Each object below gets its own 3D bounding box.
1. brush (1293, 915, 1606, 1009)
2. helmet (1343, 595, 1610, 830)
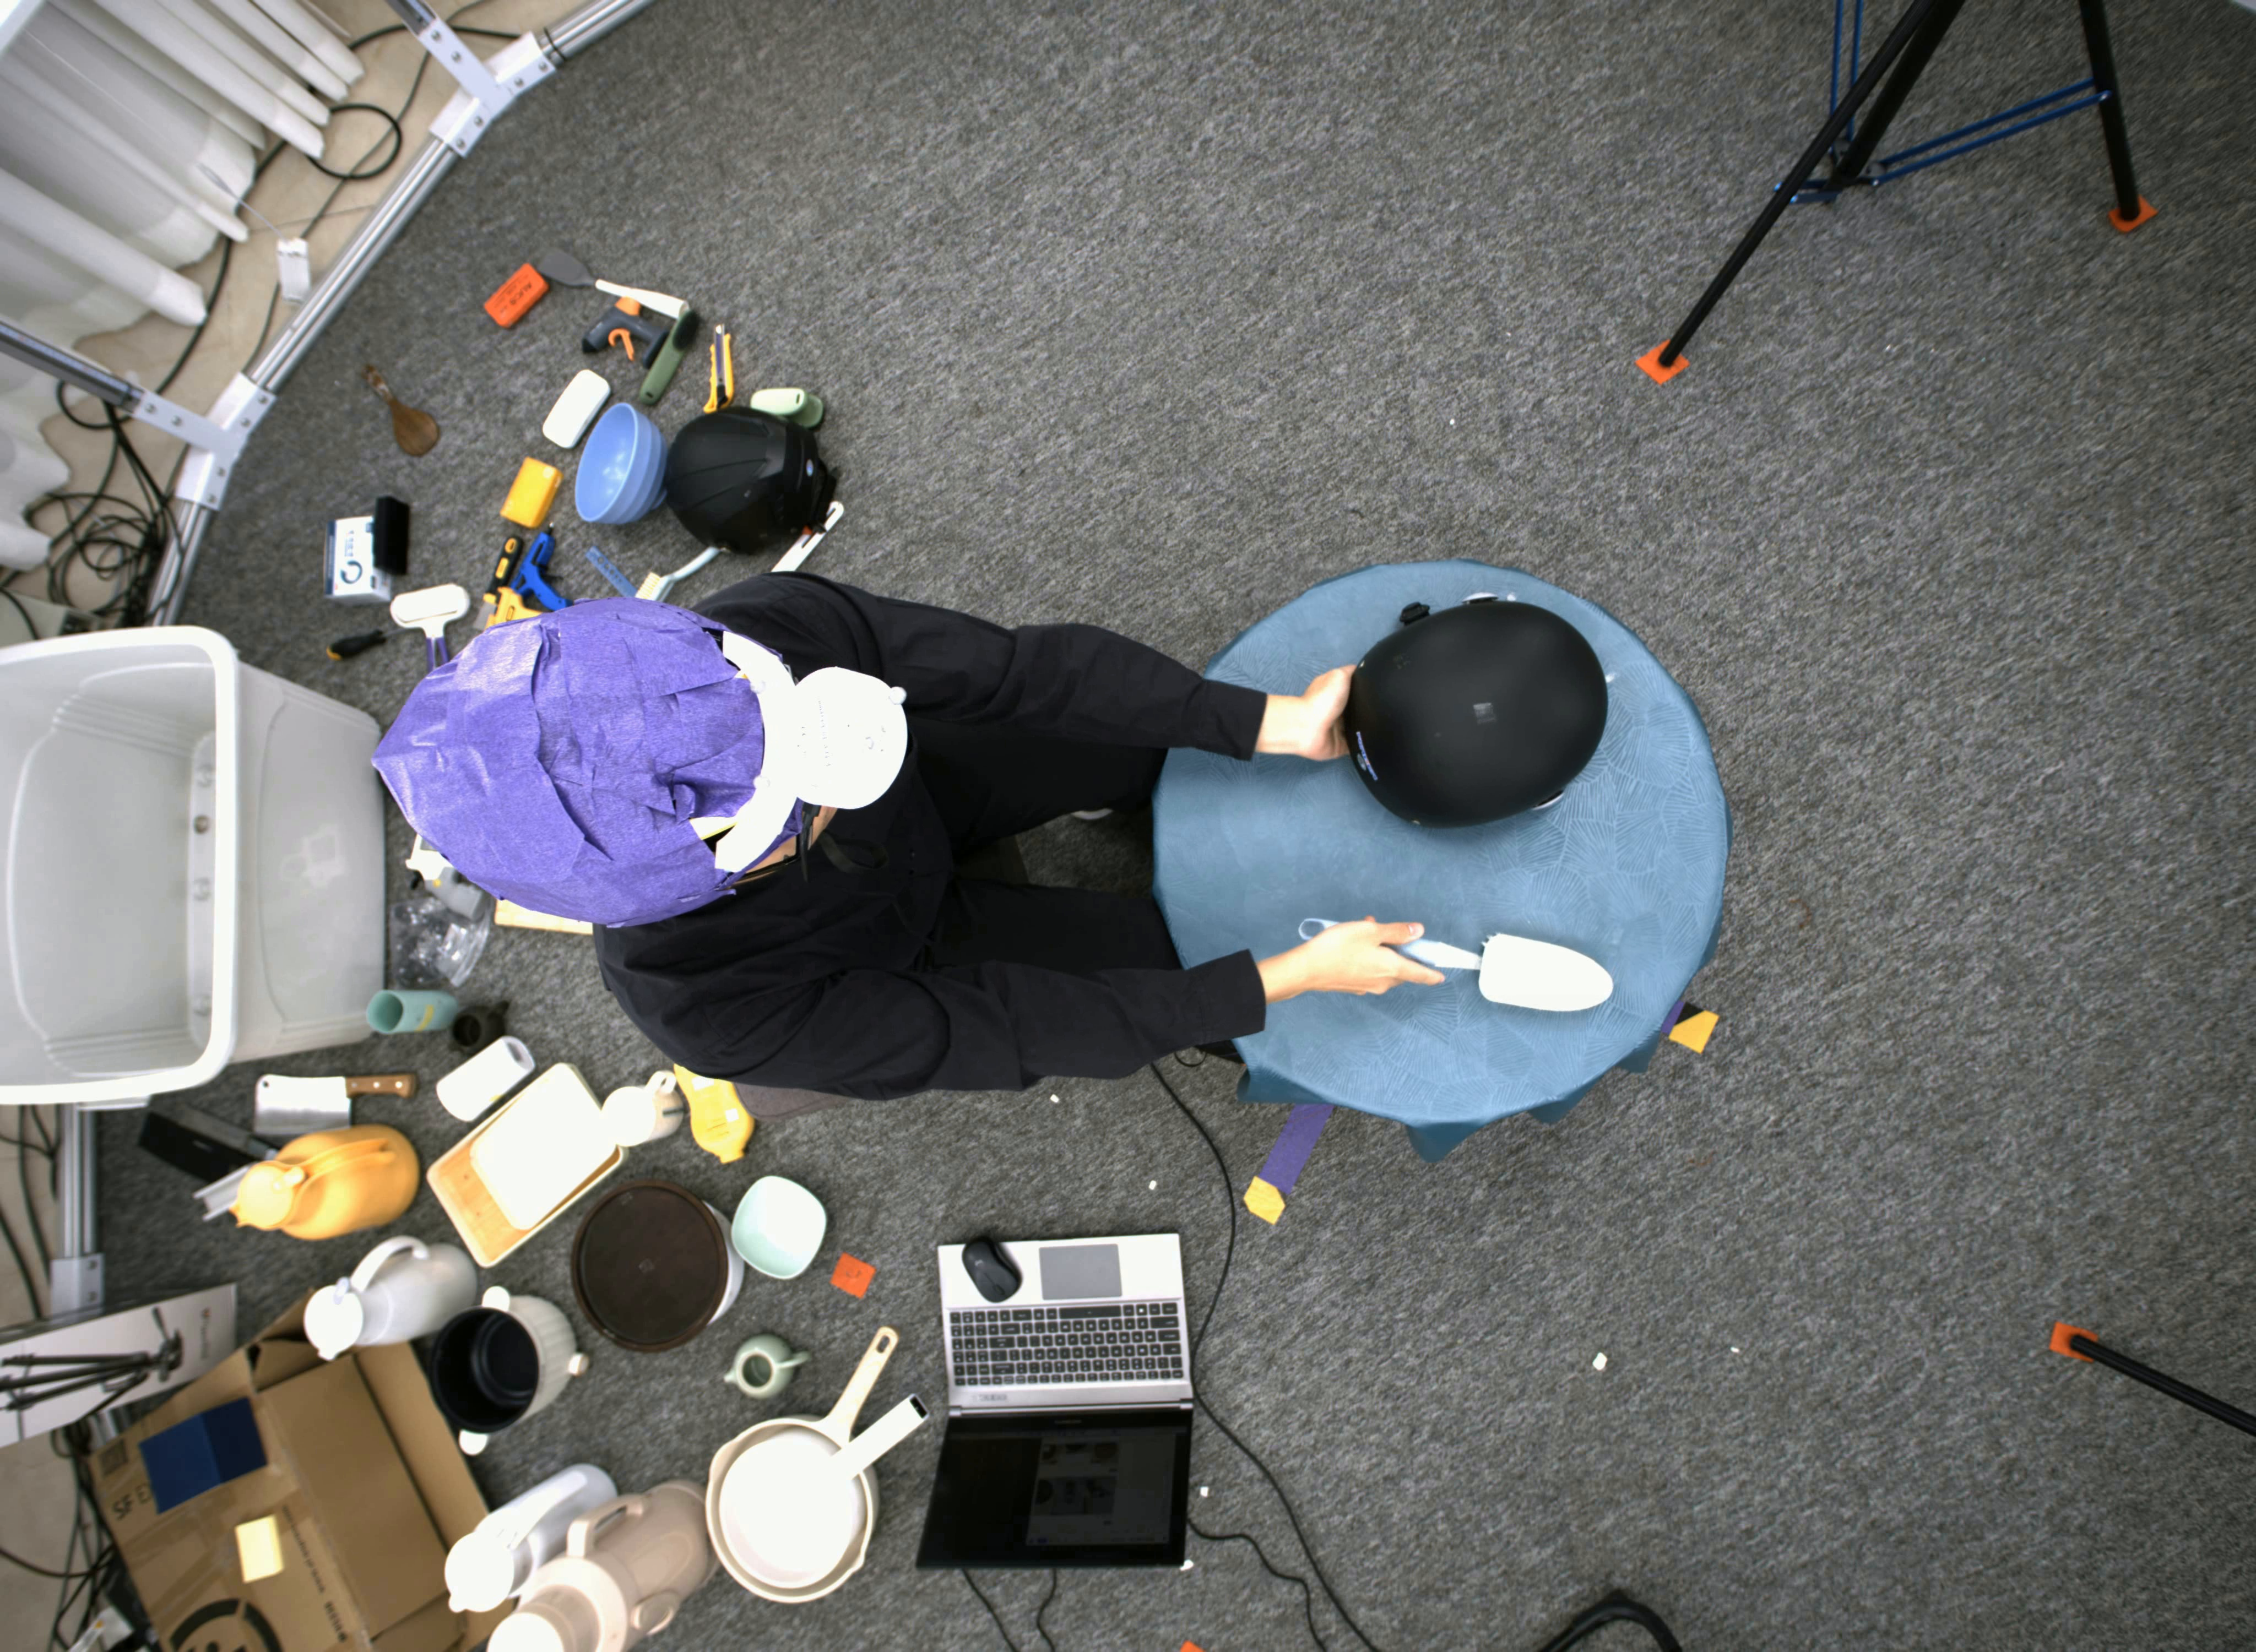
[{"bbox_3d":[0.323,0.126,1.403,0.326,0.087,0.081,11,51,-1],"label":"brush"},{"bbox_3d":[0.356,-0.114,1.363,0.274,0.165,0.231,-17,95,5],"label":"helmet"}]
